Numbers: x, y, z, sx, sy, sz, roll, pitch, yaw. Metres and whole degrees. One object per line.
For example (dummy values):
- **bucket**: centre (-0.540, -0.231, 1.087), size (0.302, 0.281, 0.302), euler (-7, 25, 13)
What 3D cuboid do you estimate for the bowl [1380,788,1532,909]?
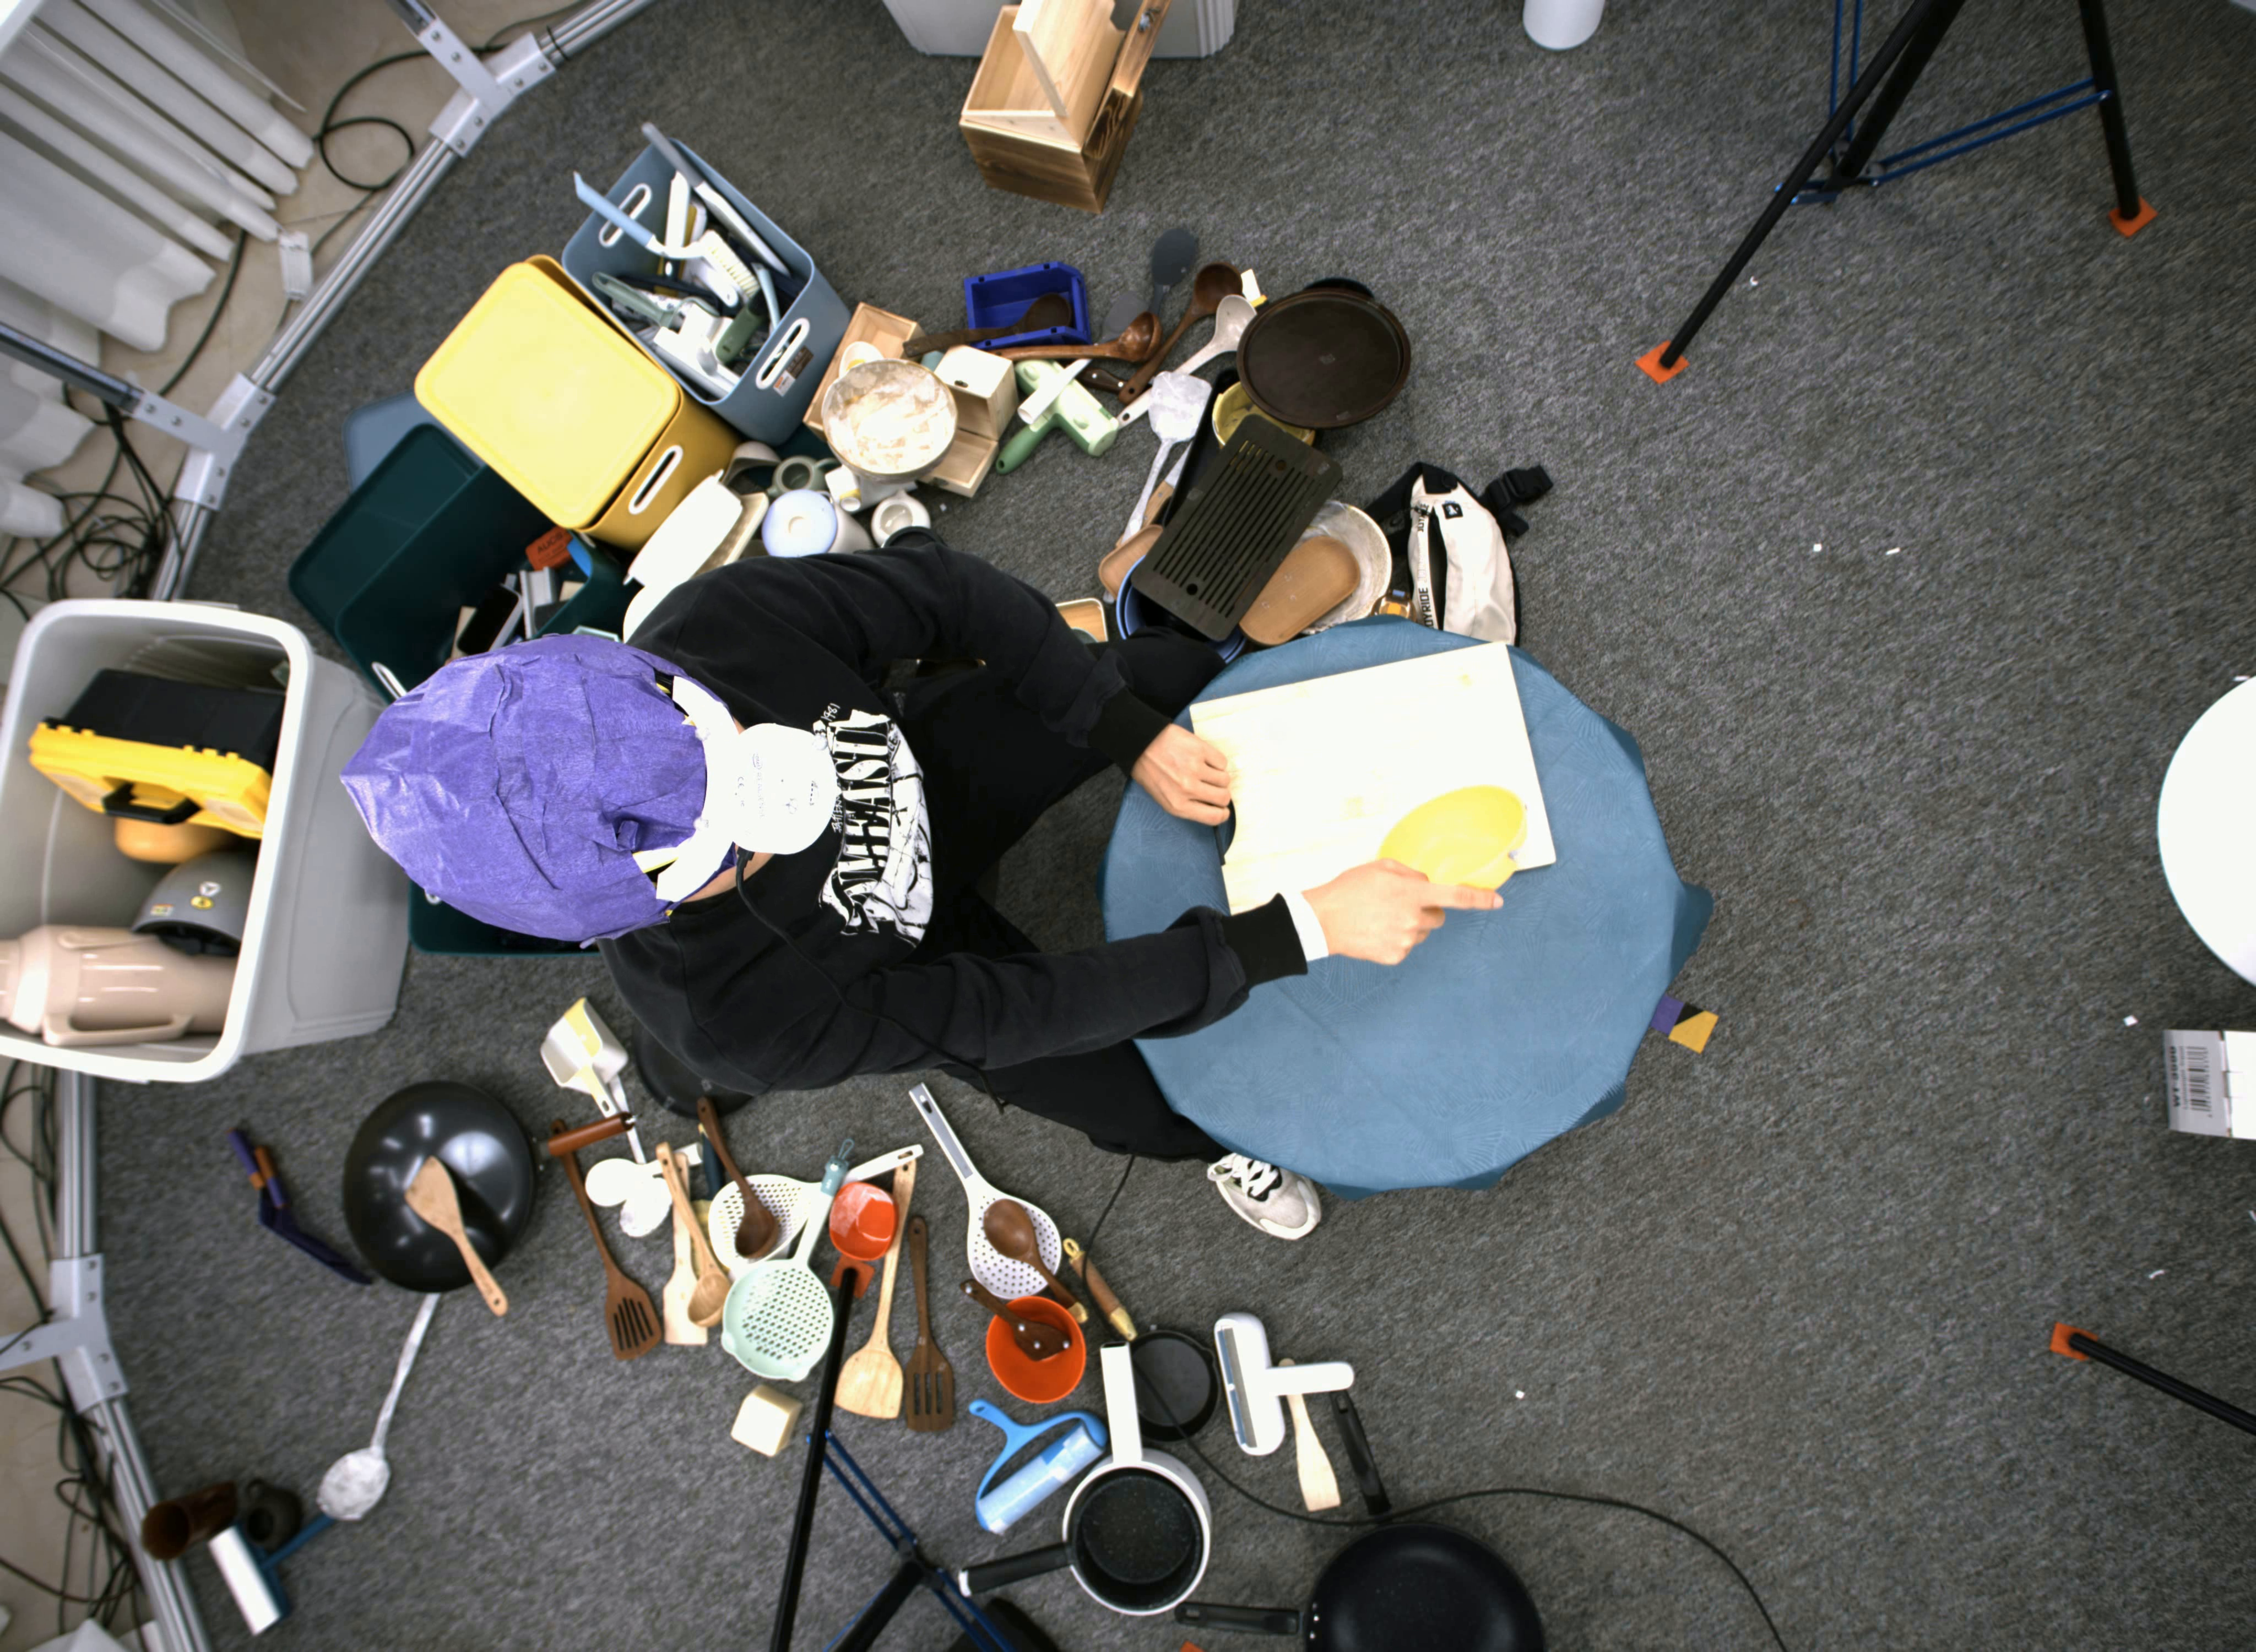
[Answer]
- **bowl**: centre (0.311, 0.031, 1.272), size (0.146, 0.142, 0.061), euler (-29, 119, 6)

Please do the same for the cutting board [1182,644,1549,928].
- **cutting board**: centre (0.251, -0.043, 1.453), size (0.350, 0.023, 0.249), euler (-12, 84, 4)
